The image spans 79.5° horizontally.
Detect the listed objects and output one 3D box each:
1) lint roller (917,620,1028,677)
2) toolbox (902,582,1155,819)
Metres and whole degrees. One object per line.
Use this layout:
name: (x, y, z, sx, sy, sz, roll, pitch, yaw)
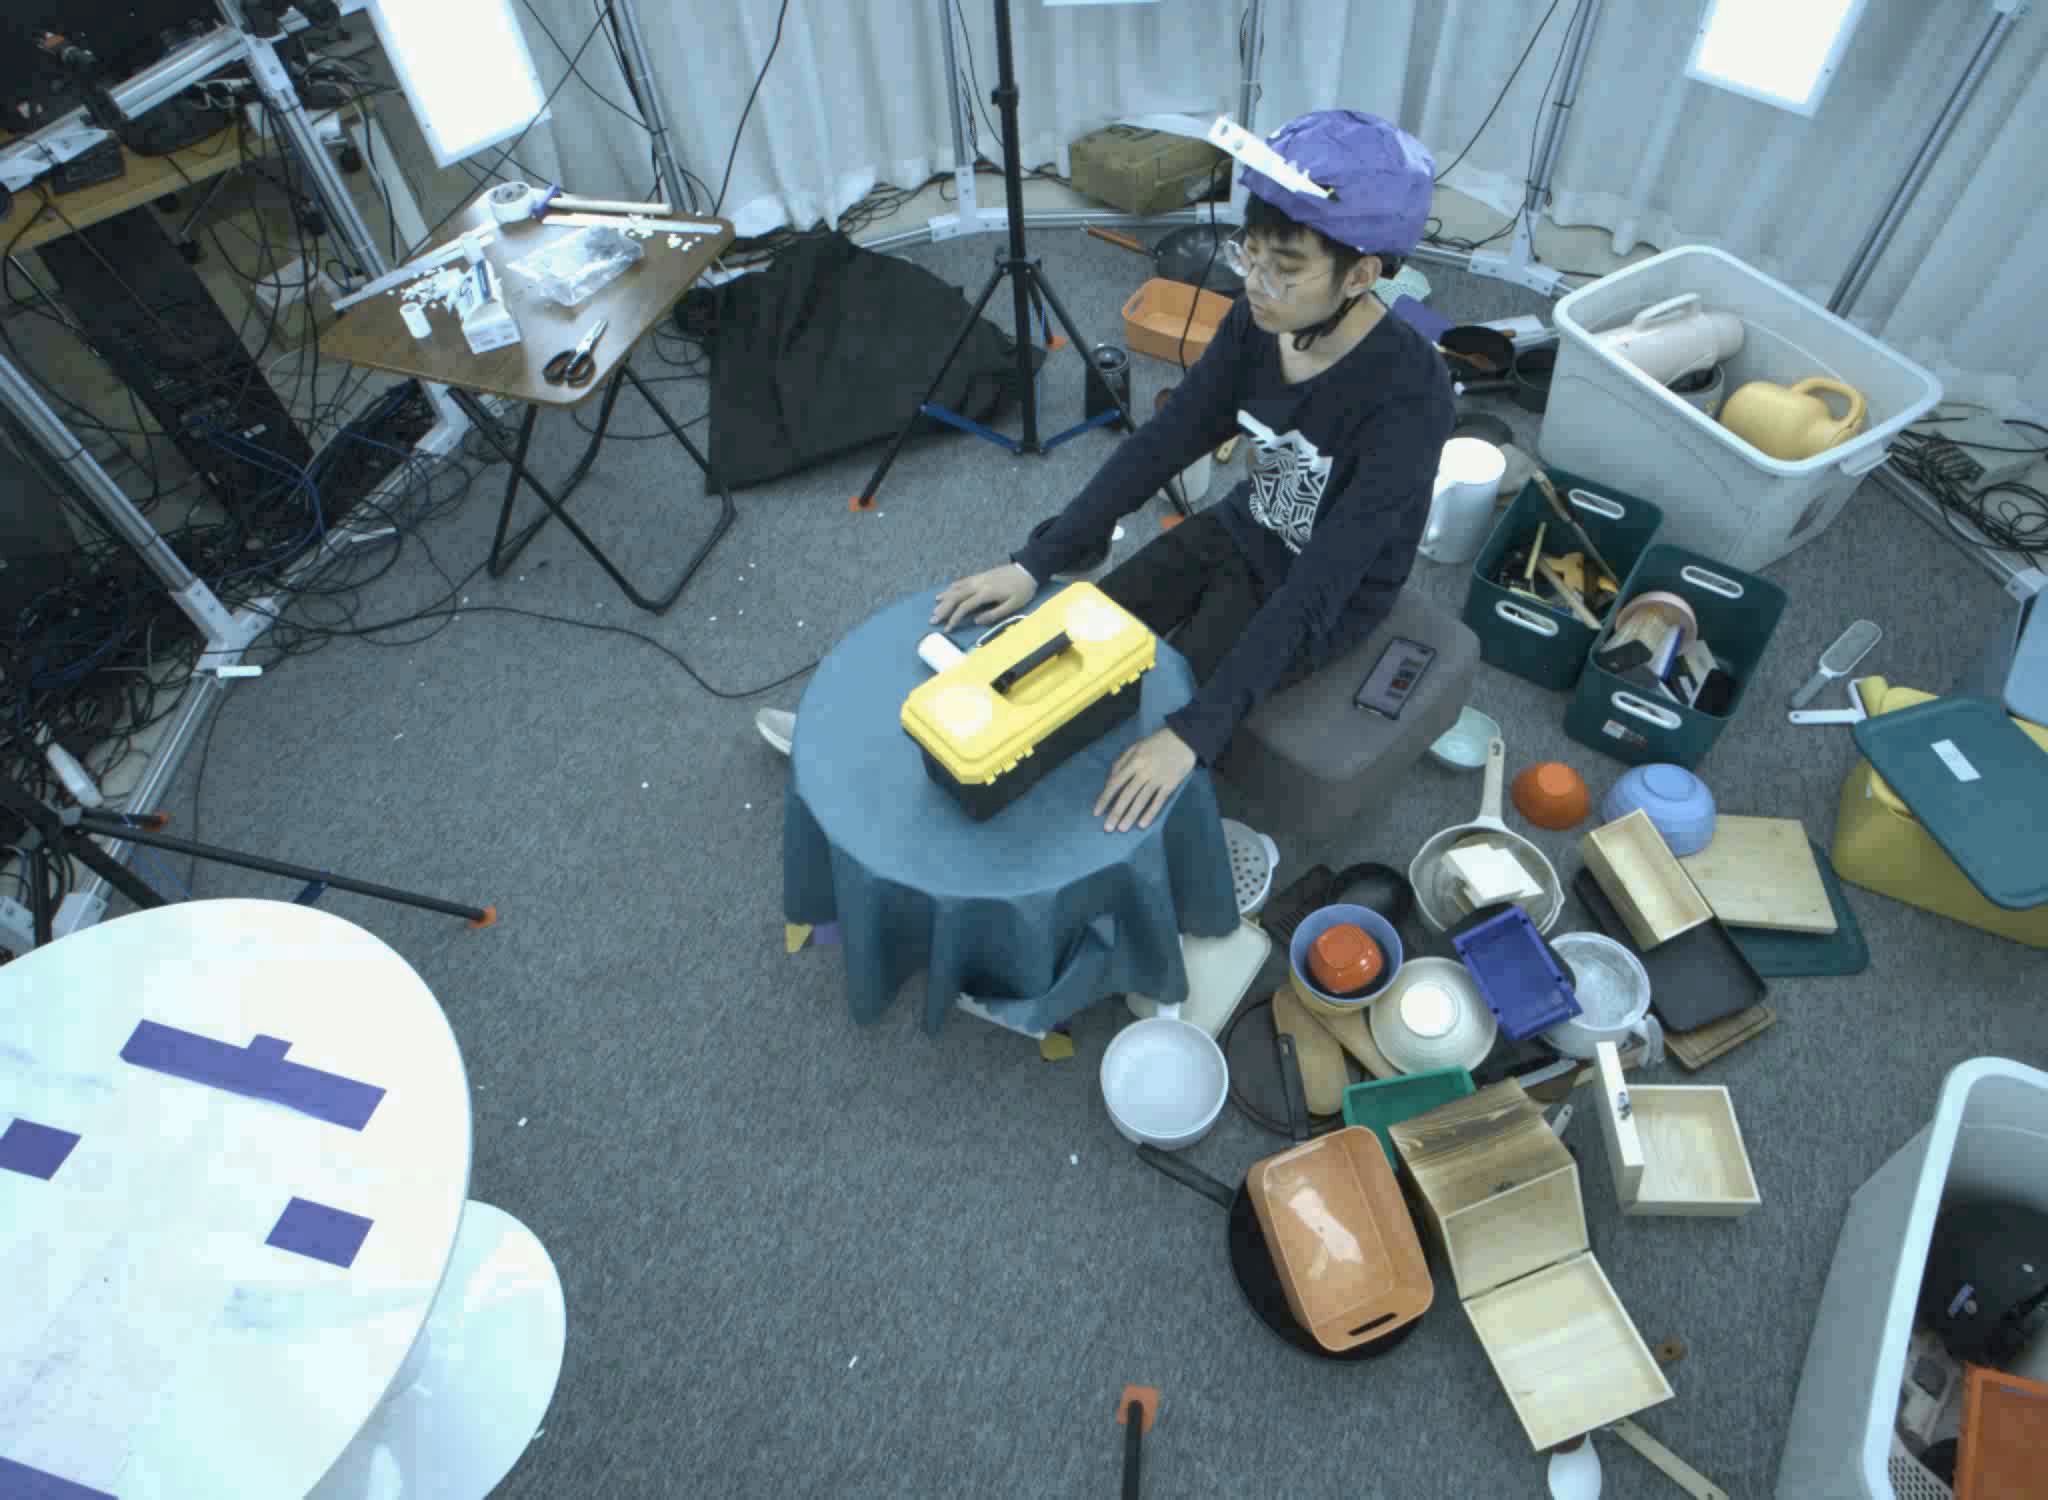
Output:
lint roller: (-0.063, -0.168, 1.893, 0.182, 0.049, 0.132, -35, 59, -26)
toolbox: (0.010, -0.070, 1.738, 0.354, 0.174, 0.178, -36, 61, -22)
